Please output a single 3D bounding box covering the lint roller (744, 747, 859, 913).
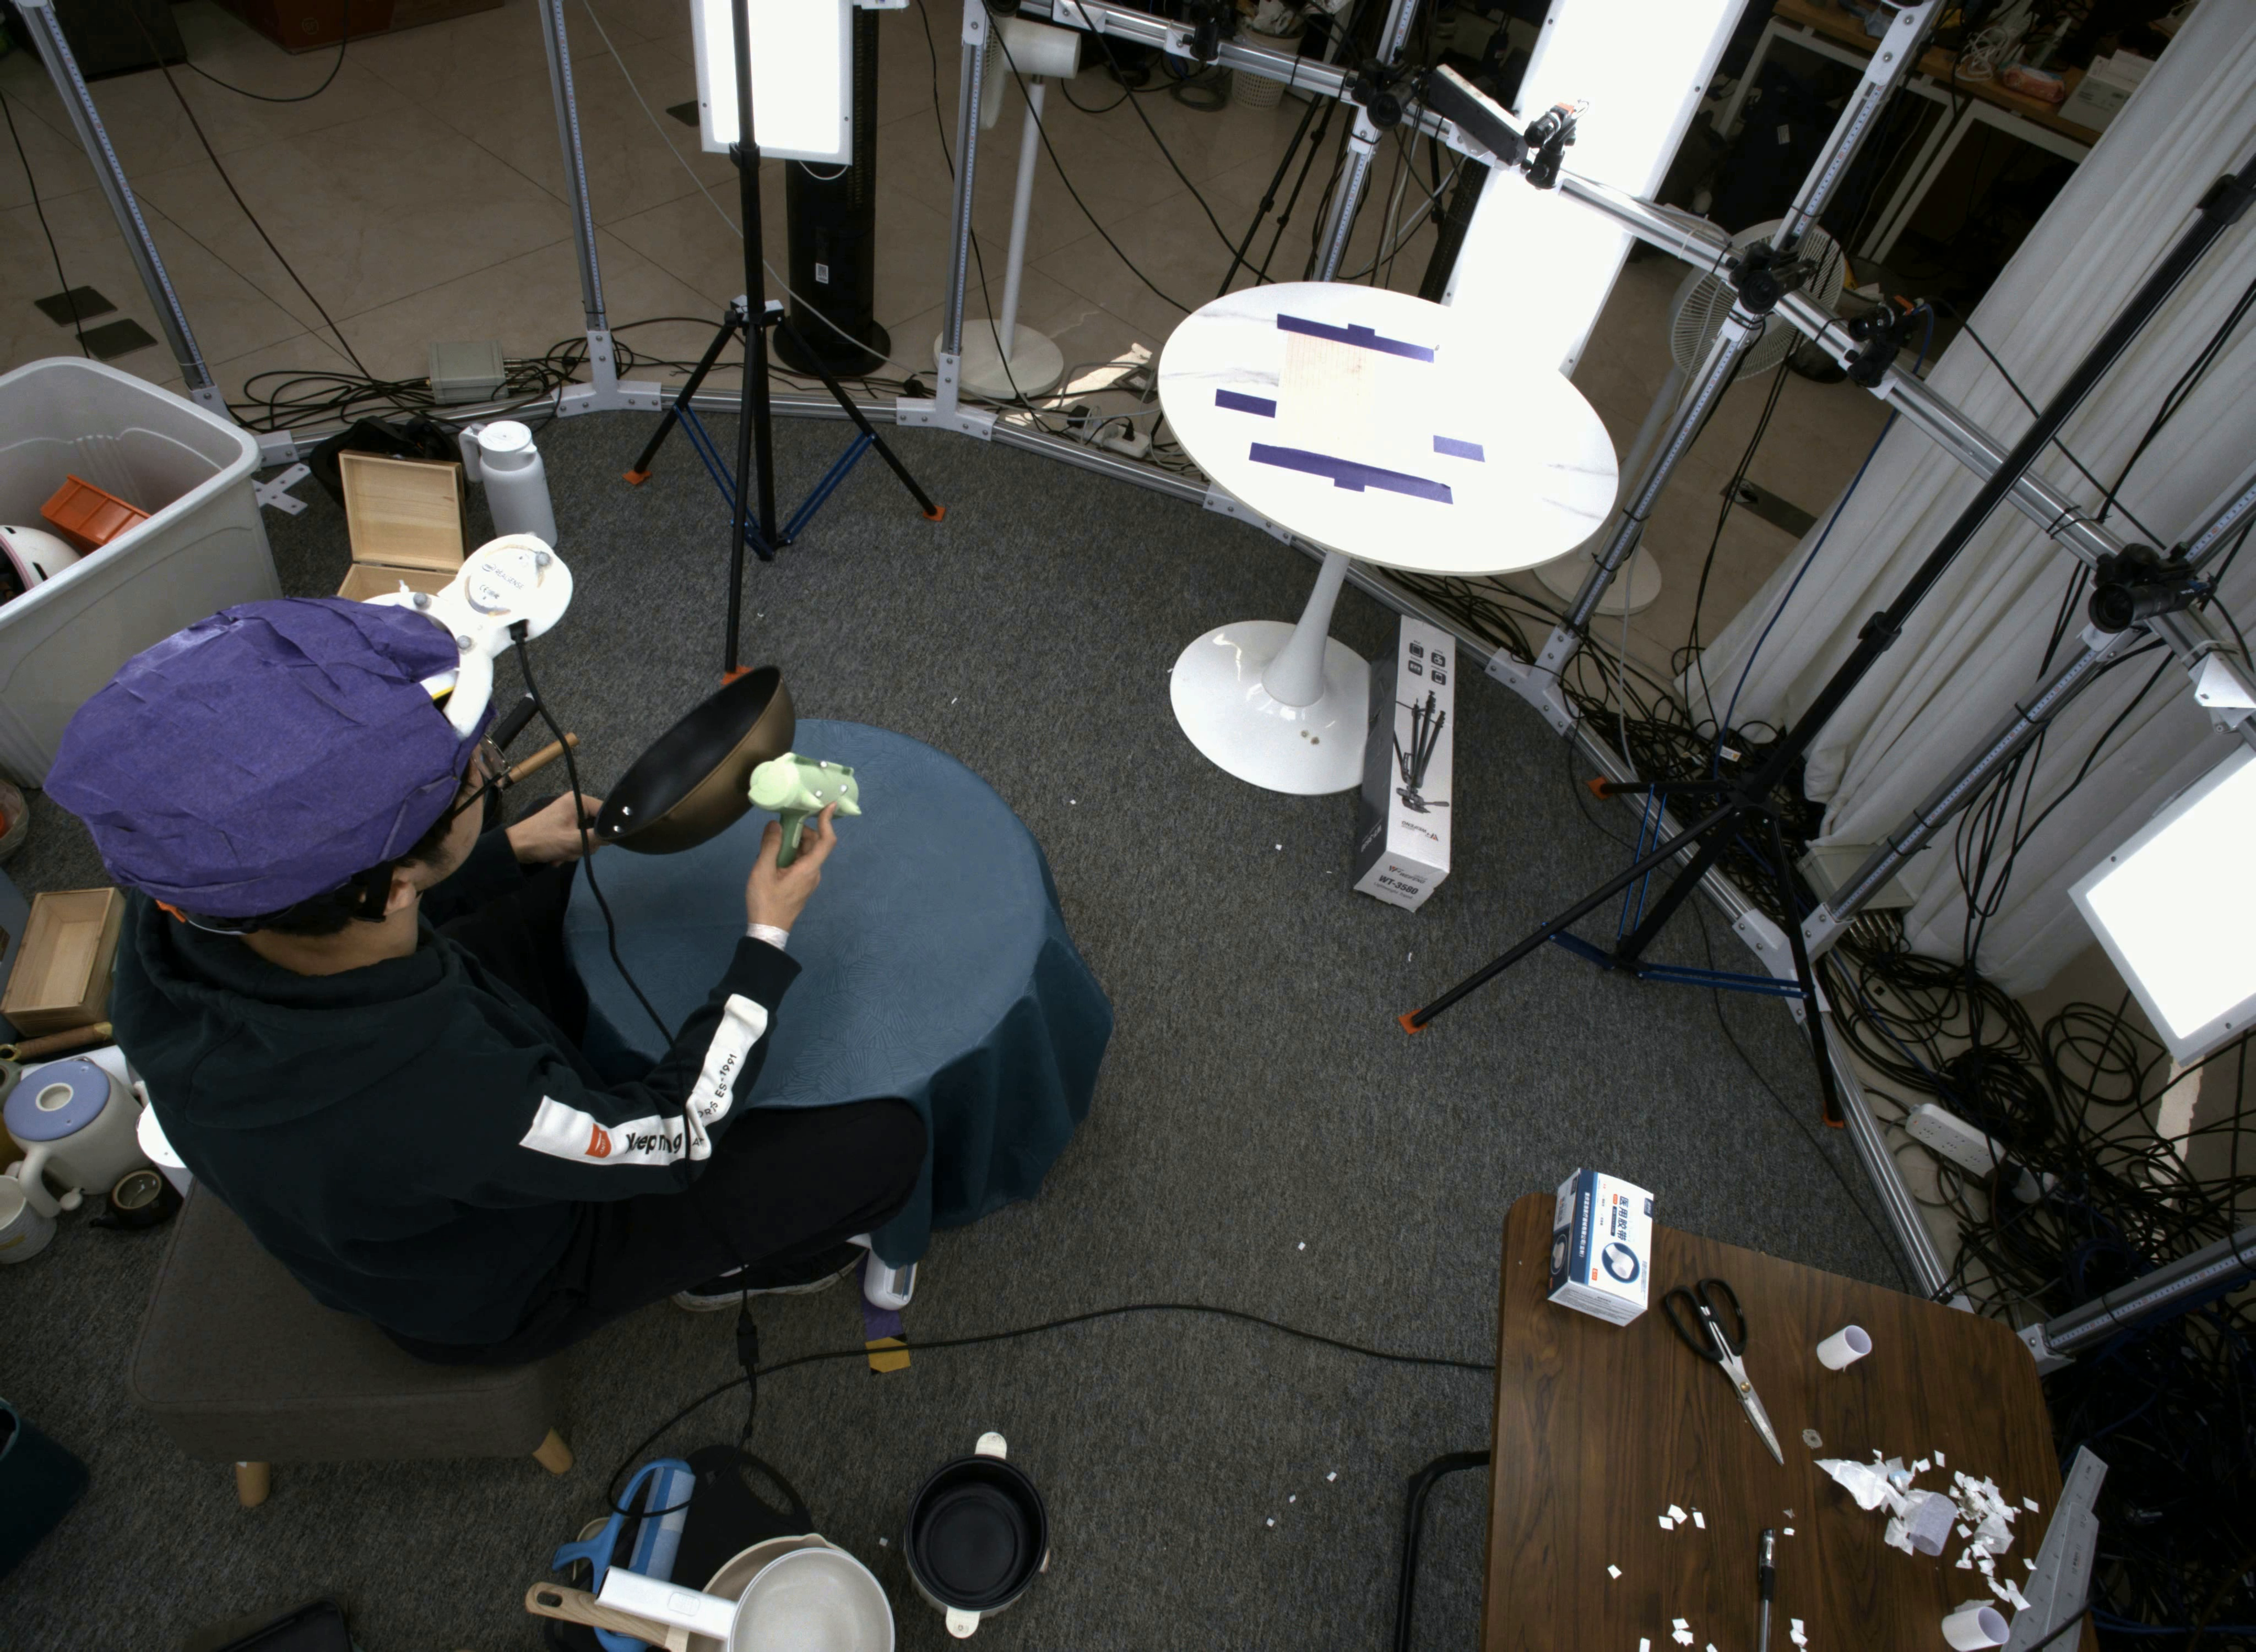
[{"bbox_3d":[-0.368,0.012,1.446,0.080,0.200,0.185,12,90,10],"label":"lint roller"}]

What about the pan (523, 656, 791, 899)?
[{"bbox_3d":[-0.552,-0.018,1.487,0.090,0.459,0.281,49,15,-28],"label":"pan"}]
